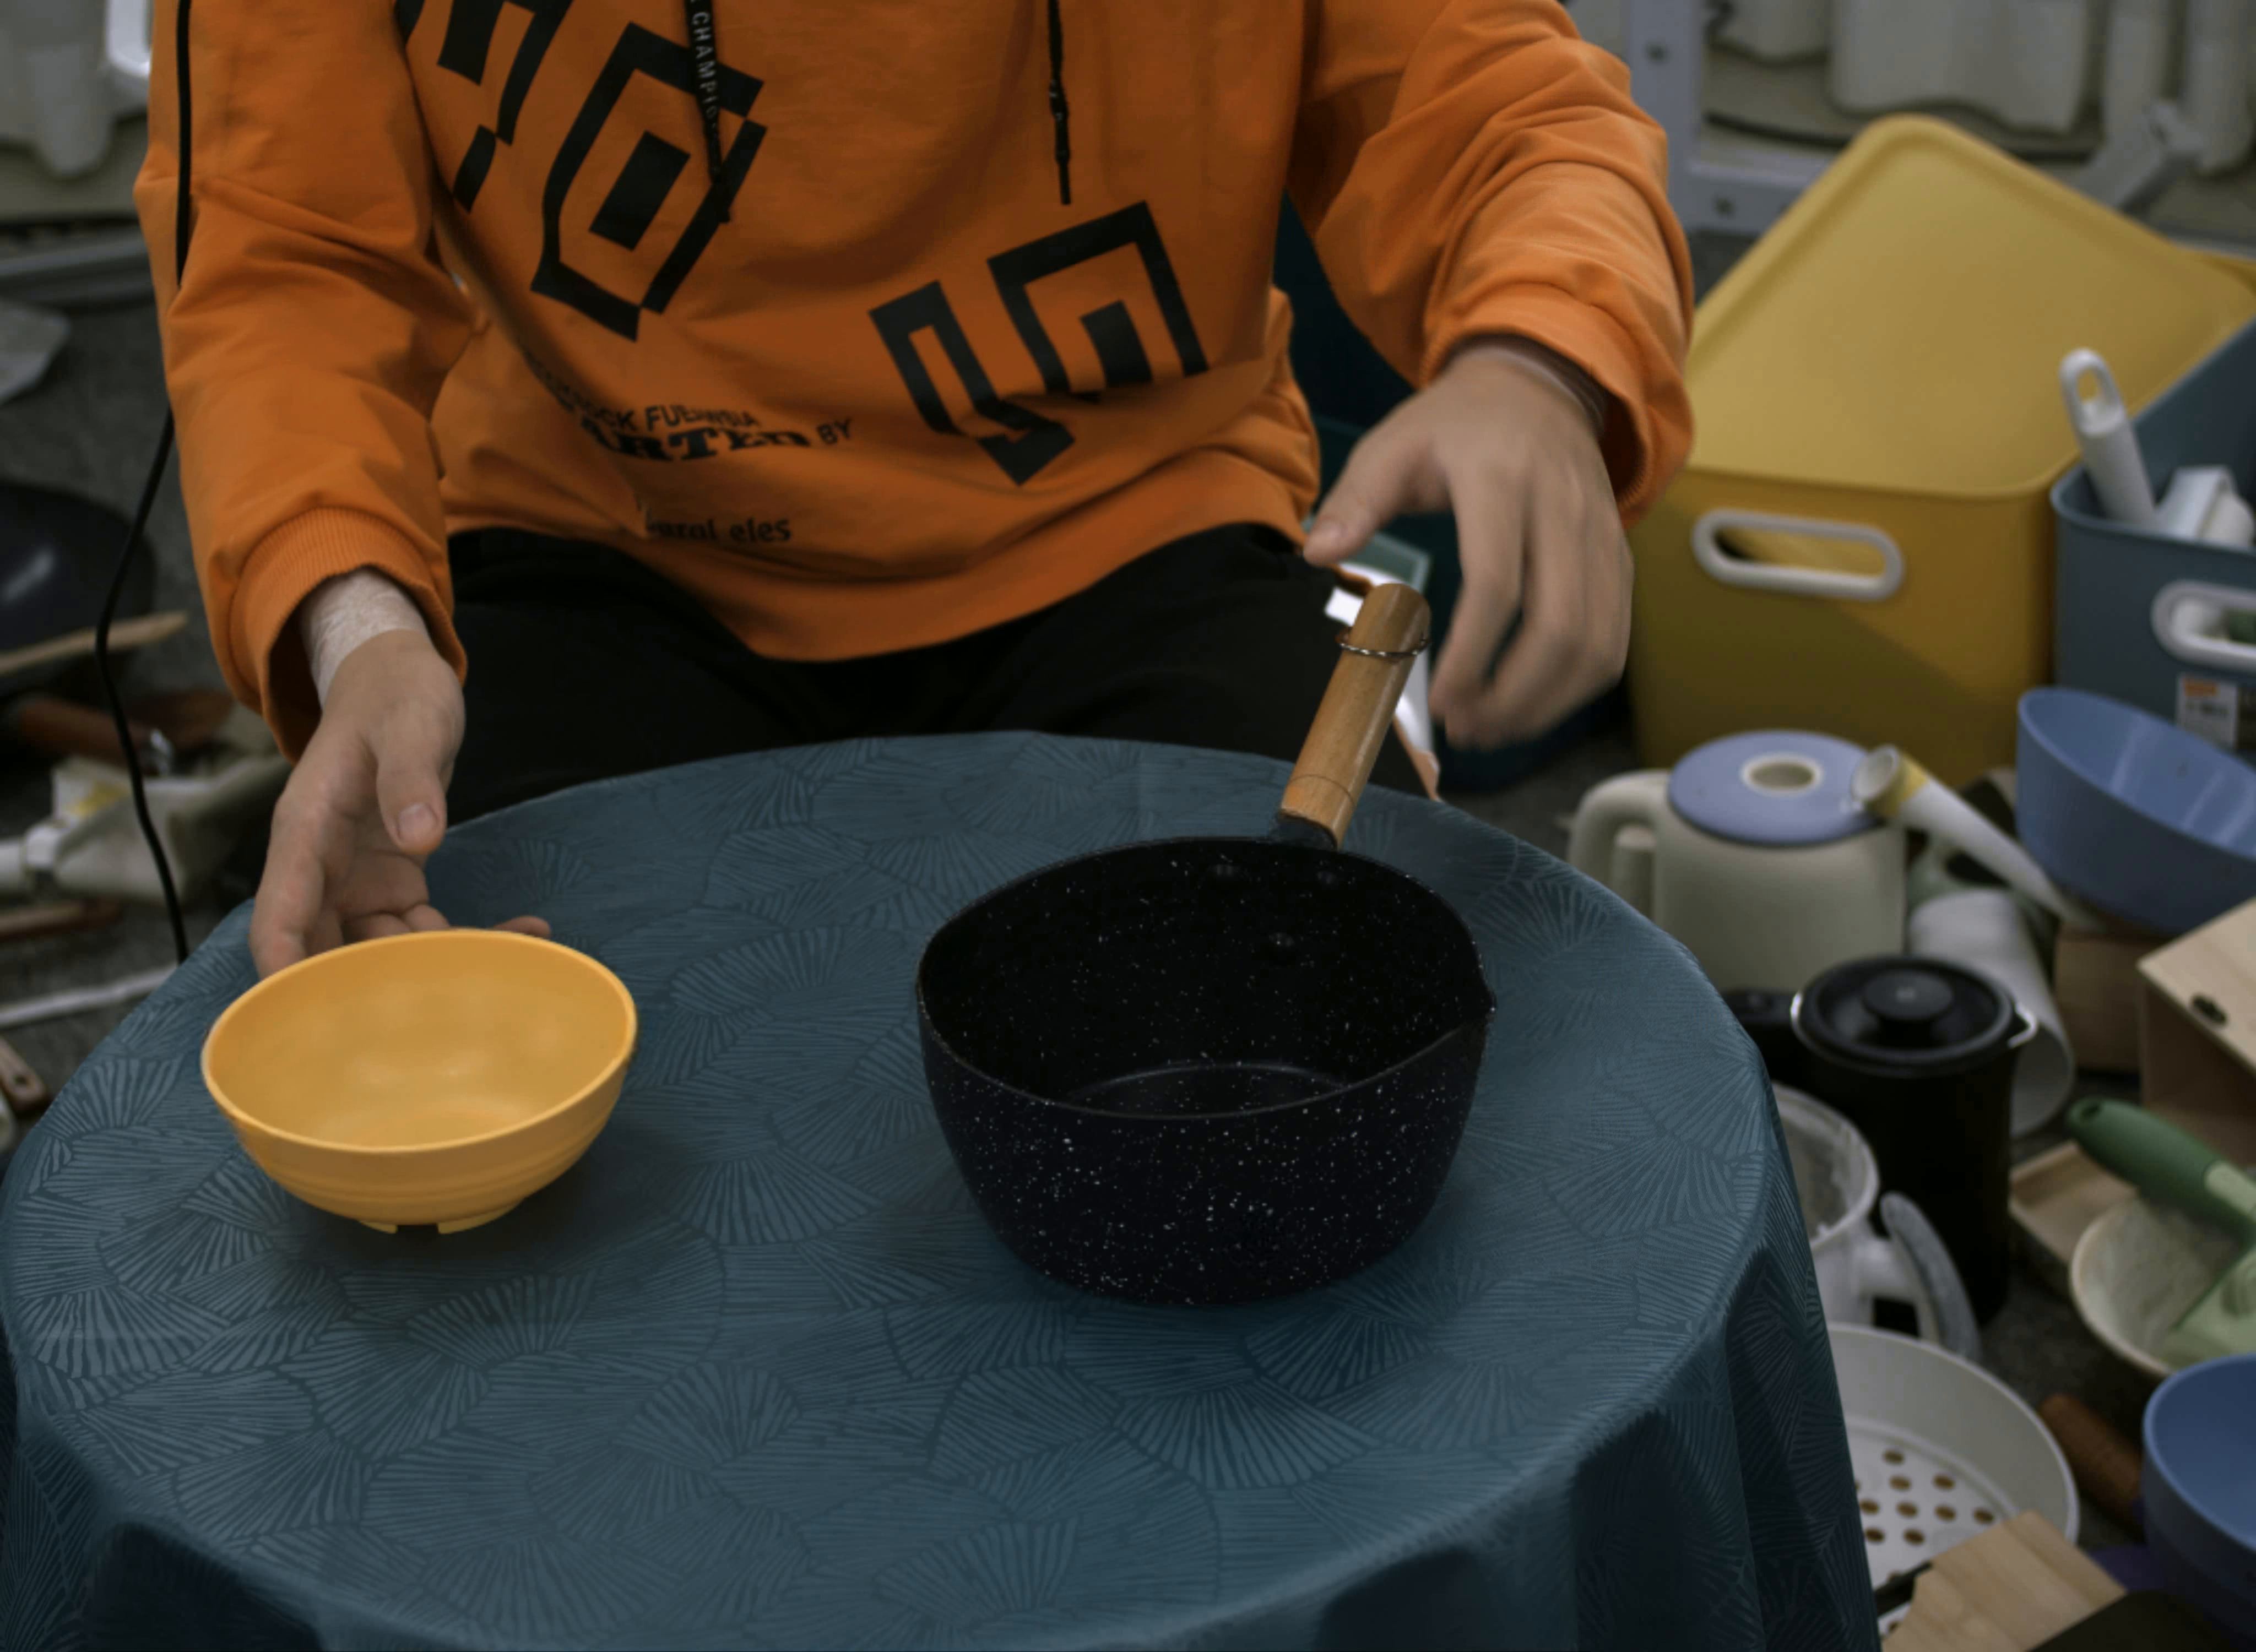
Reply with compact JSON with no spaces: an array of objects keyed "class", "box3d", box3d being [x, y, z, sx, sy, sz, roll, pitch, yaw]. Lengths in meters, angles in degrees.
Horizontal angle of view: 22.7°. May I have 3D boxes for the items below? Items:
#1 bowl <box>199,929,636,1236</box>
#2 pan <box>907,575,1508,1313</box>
[{"class":"bowl","box3d":[-0.234,0.095,1.874,0.144,0.059,0.147,-1,27,1]},{"class":"pan","box3d":[0.048,0.036,1.906,0.206,0.107,0.349,4,30,17]}]
